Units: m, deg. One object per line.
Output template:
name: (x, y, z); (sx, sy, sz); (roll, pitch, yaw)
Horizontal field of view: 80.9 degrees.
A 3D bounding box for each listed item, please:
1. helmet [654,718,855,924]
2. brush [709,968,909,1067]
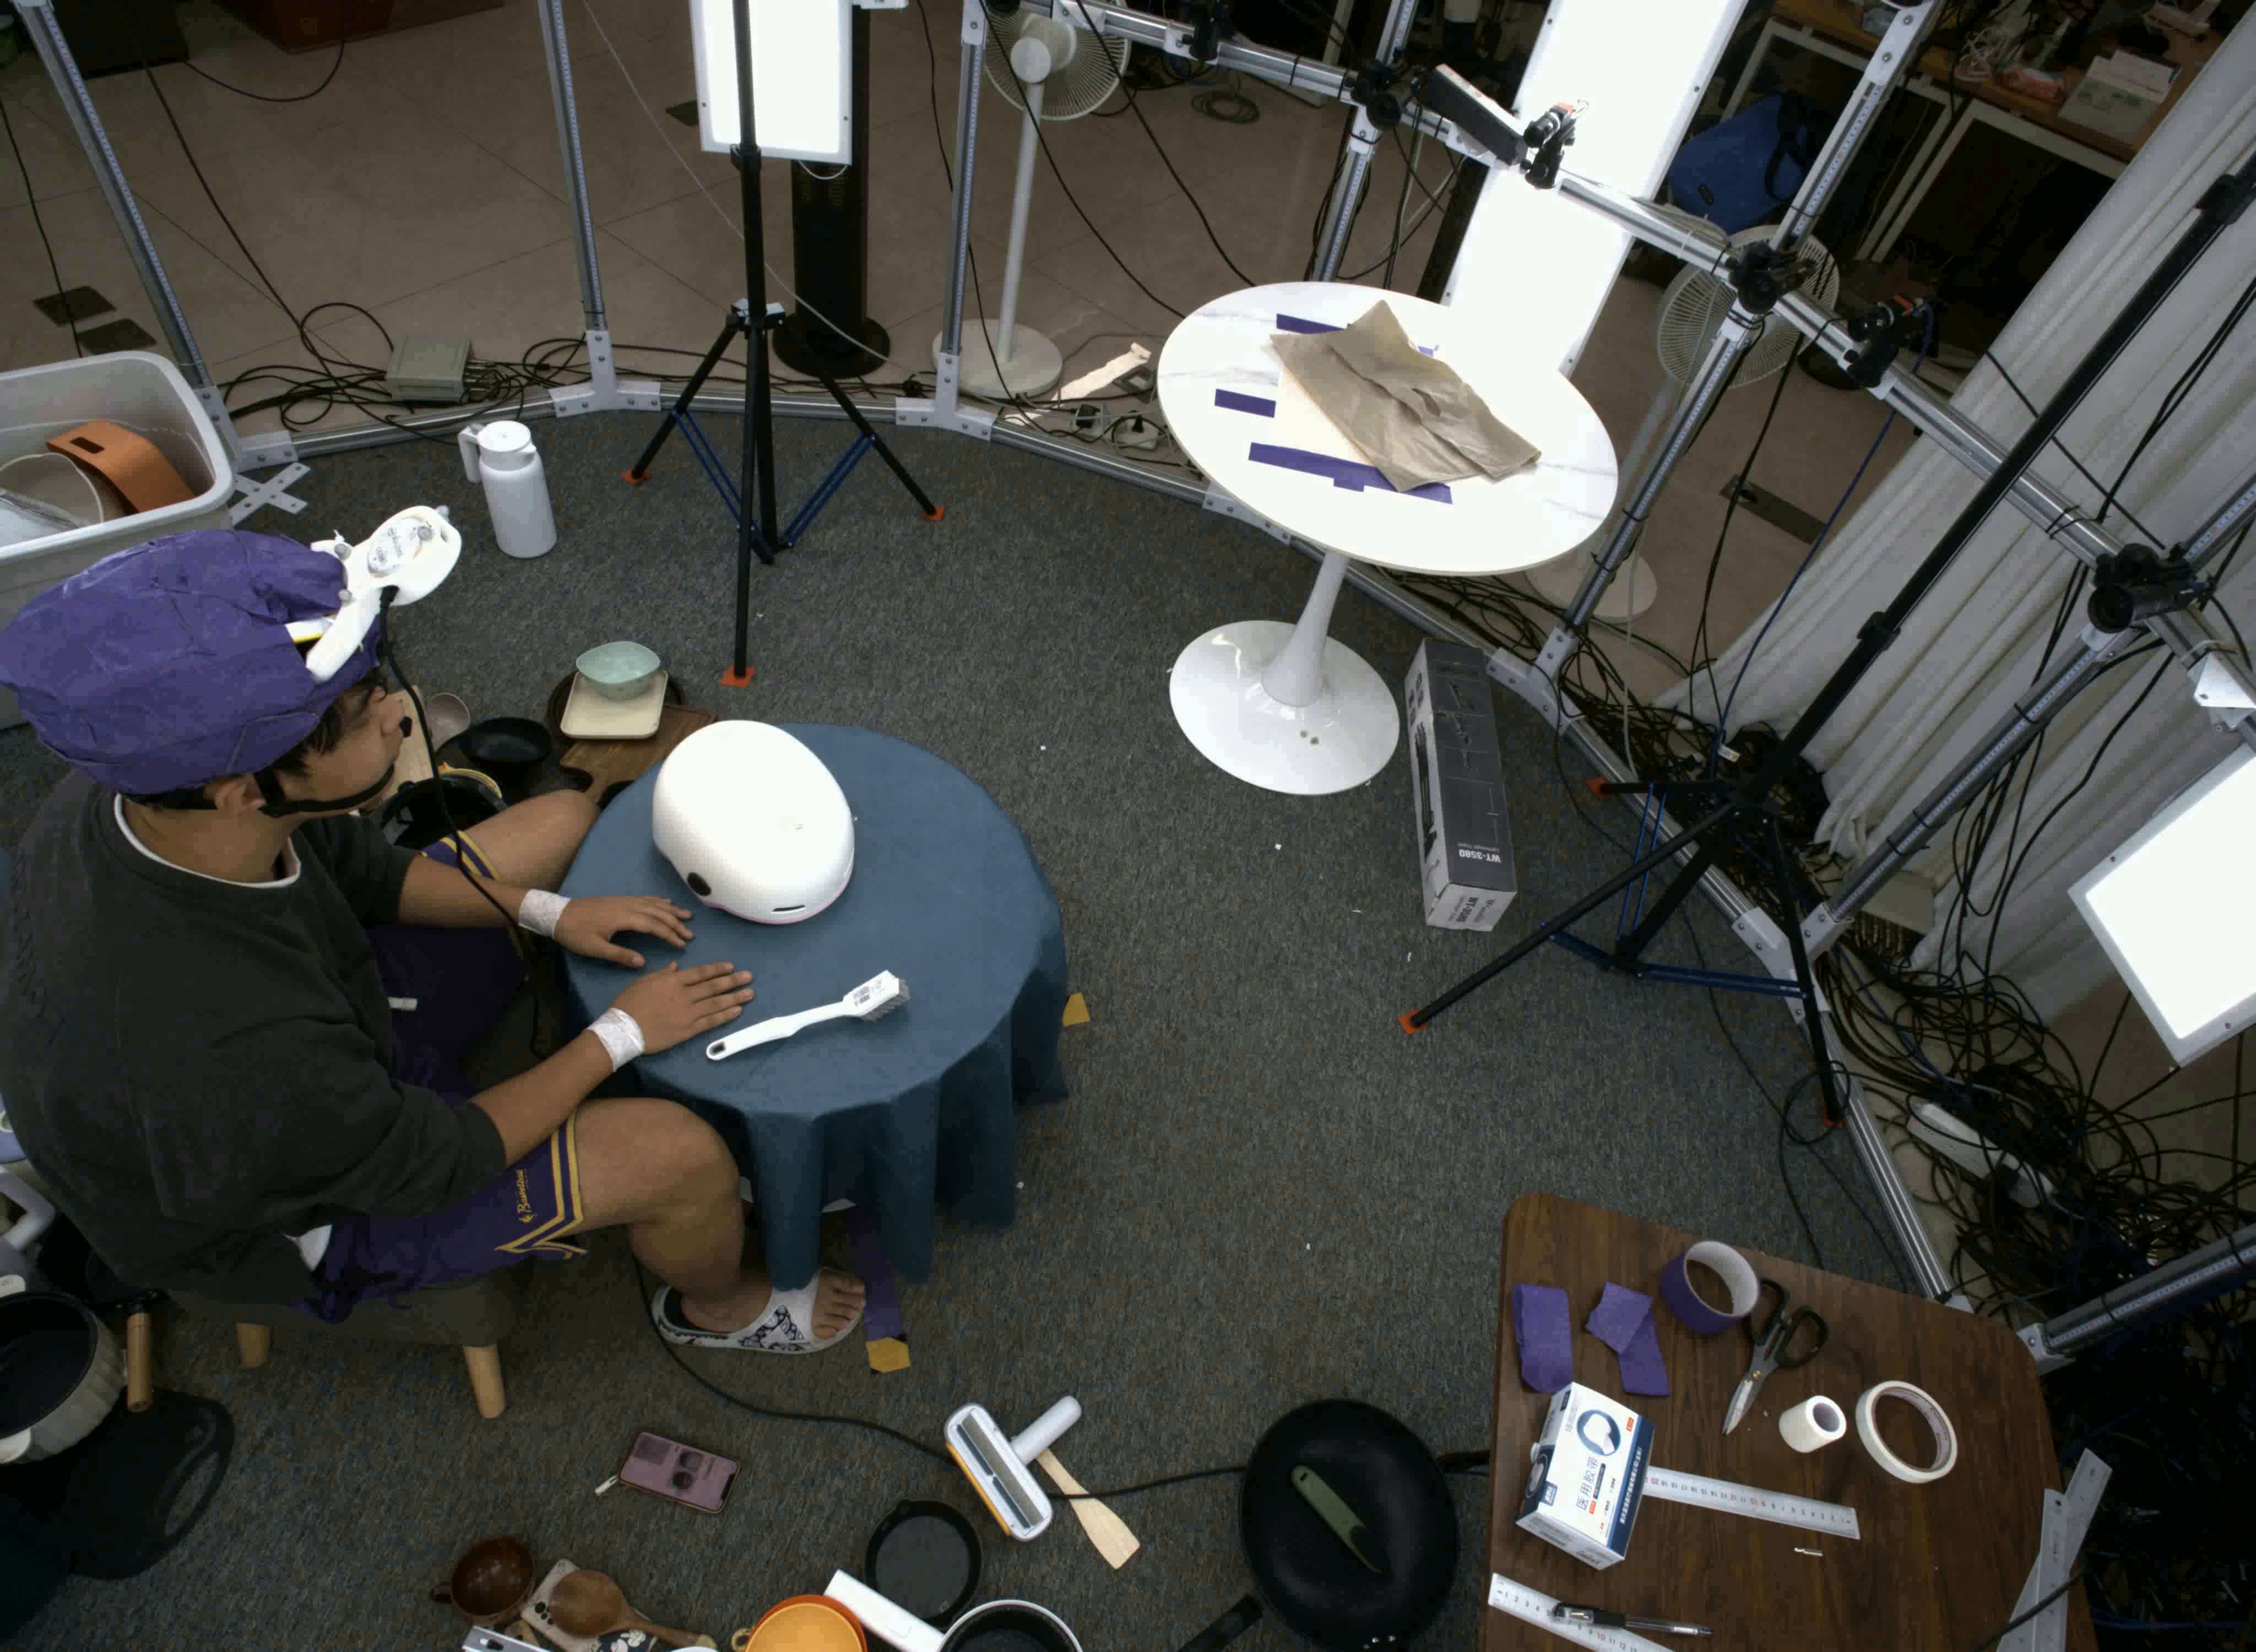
helmet: (-0.471, -0.026, 1.631); (0.263, 0.170, 0.237); (38, 54, 15)
brush: (-0.379, 0.235, 1.550); (0.243, 0.052, 0.033); (-24, 55, -13)
